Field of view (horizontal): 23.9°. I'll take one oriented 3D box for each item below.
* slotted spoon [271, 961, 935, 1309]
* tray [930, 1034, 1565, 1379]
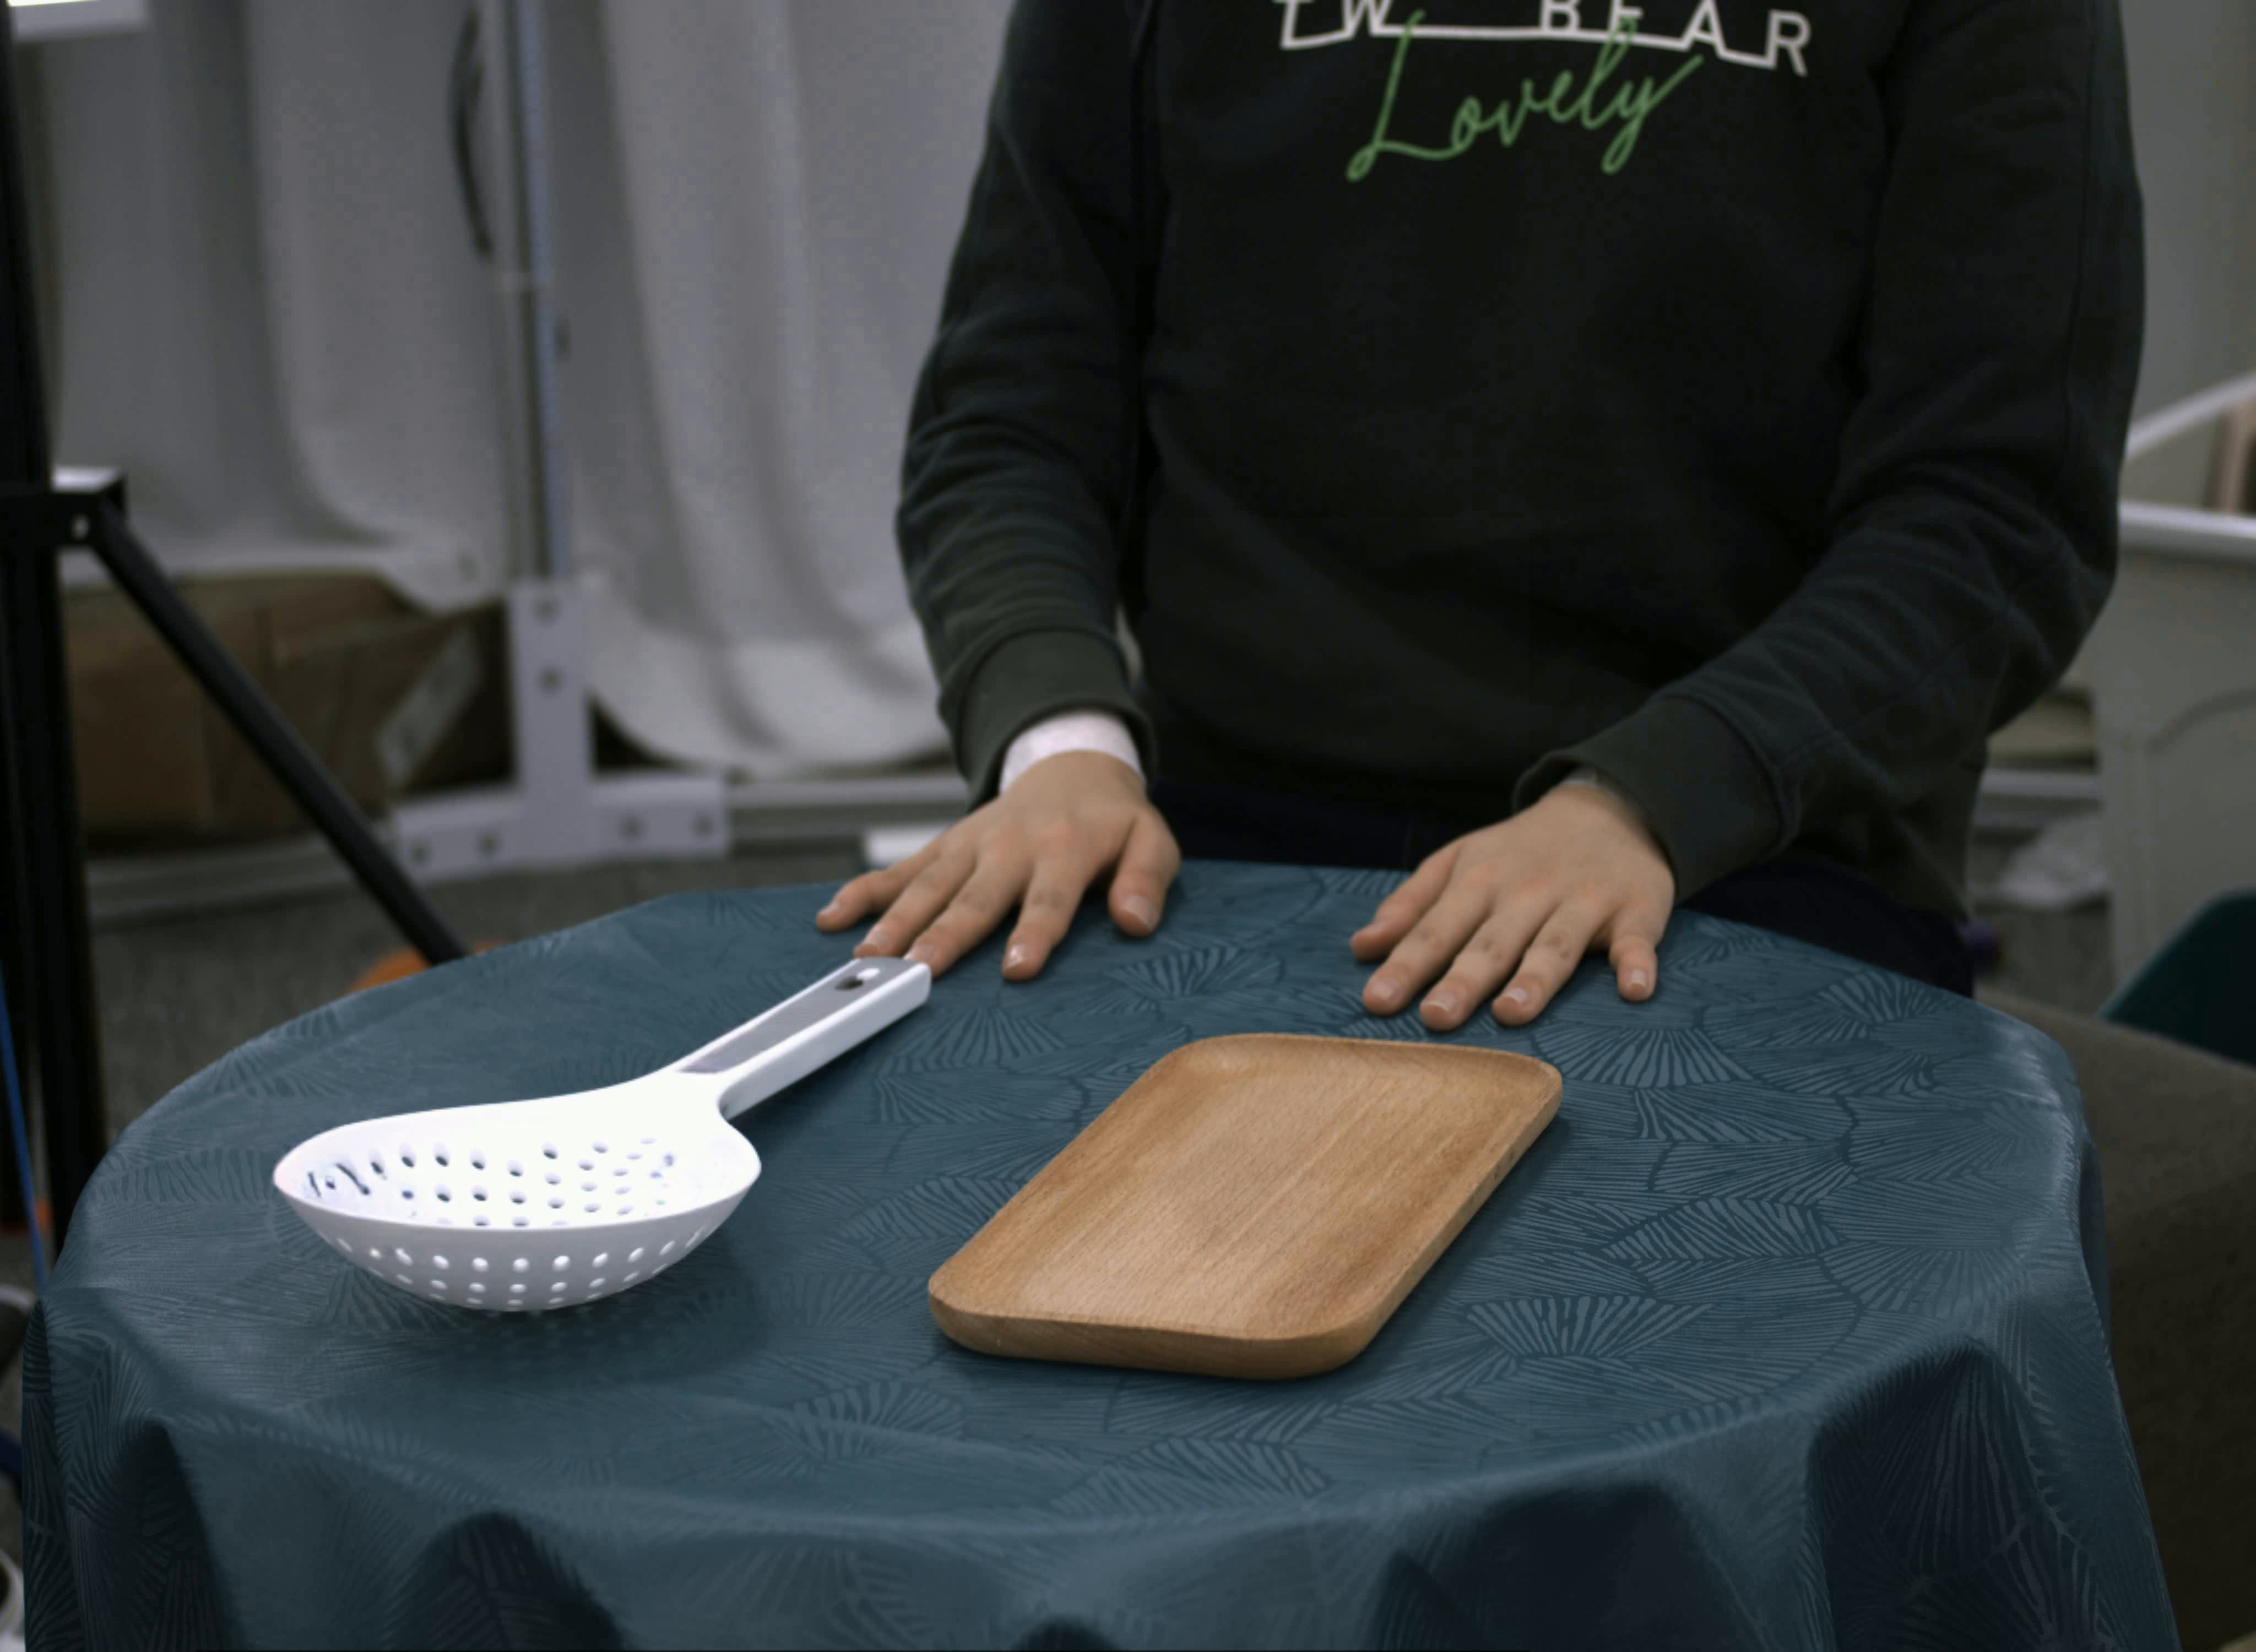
[{"bbox_3d":[-0.134,0.082,1.588,0.137,0.046,0.345,6,17,20],"label":"slotted spoon"},{"bbox_3d":[0.039,0.106,1.526,0.132,0.023,0.247,5,17,20],"label":"tray"}]
